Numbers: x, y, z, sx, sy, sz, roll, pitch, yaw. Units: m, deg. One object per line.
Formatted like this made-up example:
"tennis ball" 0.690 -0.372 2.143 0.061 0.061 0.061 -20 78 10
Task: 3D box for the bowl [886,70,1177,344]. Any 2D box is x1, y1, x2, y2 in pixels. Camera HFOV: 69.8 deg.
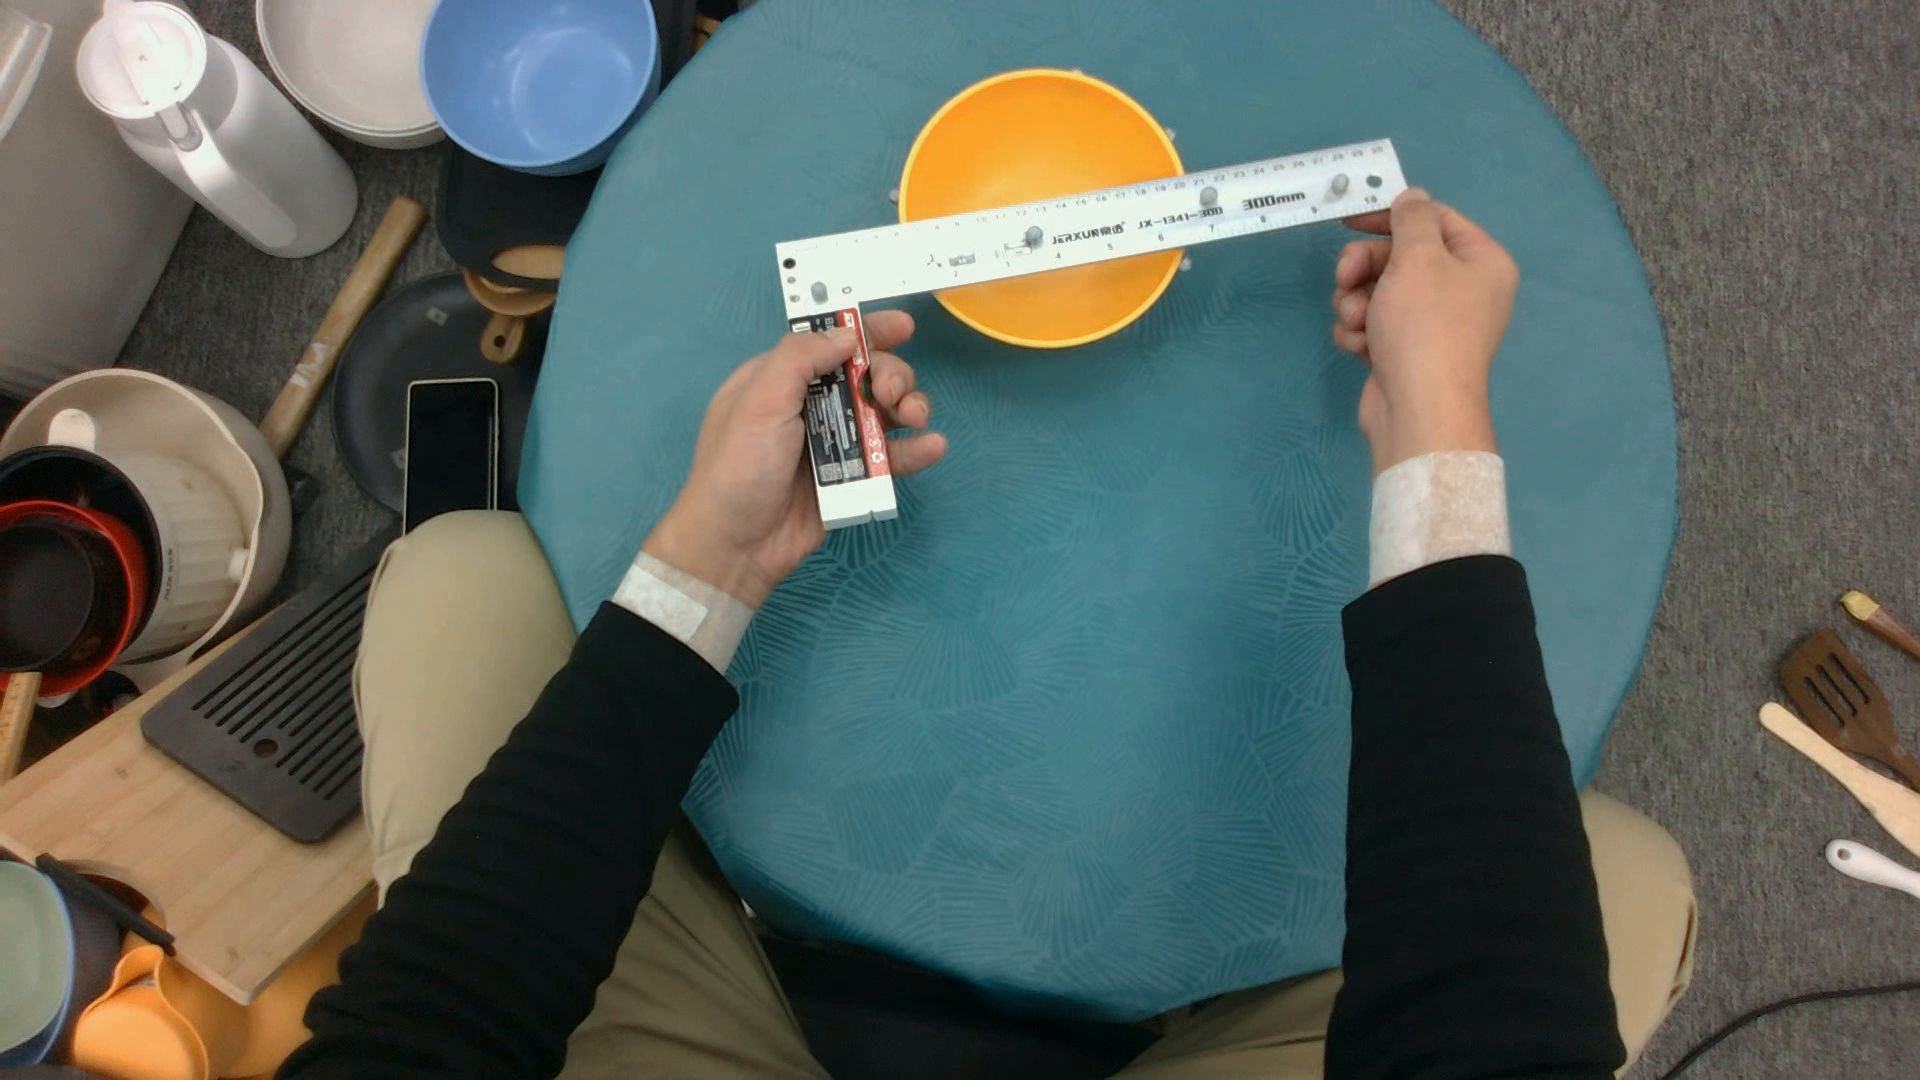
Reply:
"bowl" 0.036 -0.163 0.713 0.145 0.060 0.145 0 81 1

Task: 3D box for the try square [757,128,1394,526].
"try square" 0.067 -0.106 0.652 0.313 0.016 0.152 -11 72 -5
